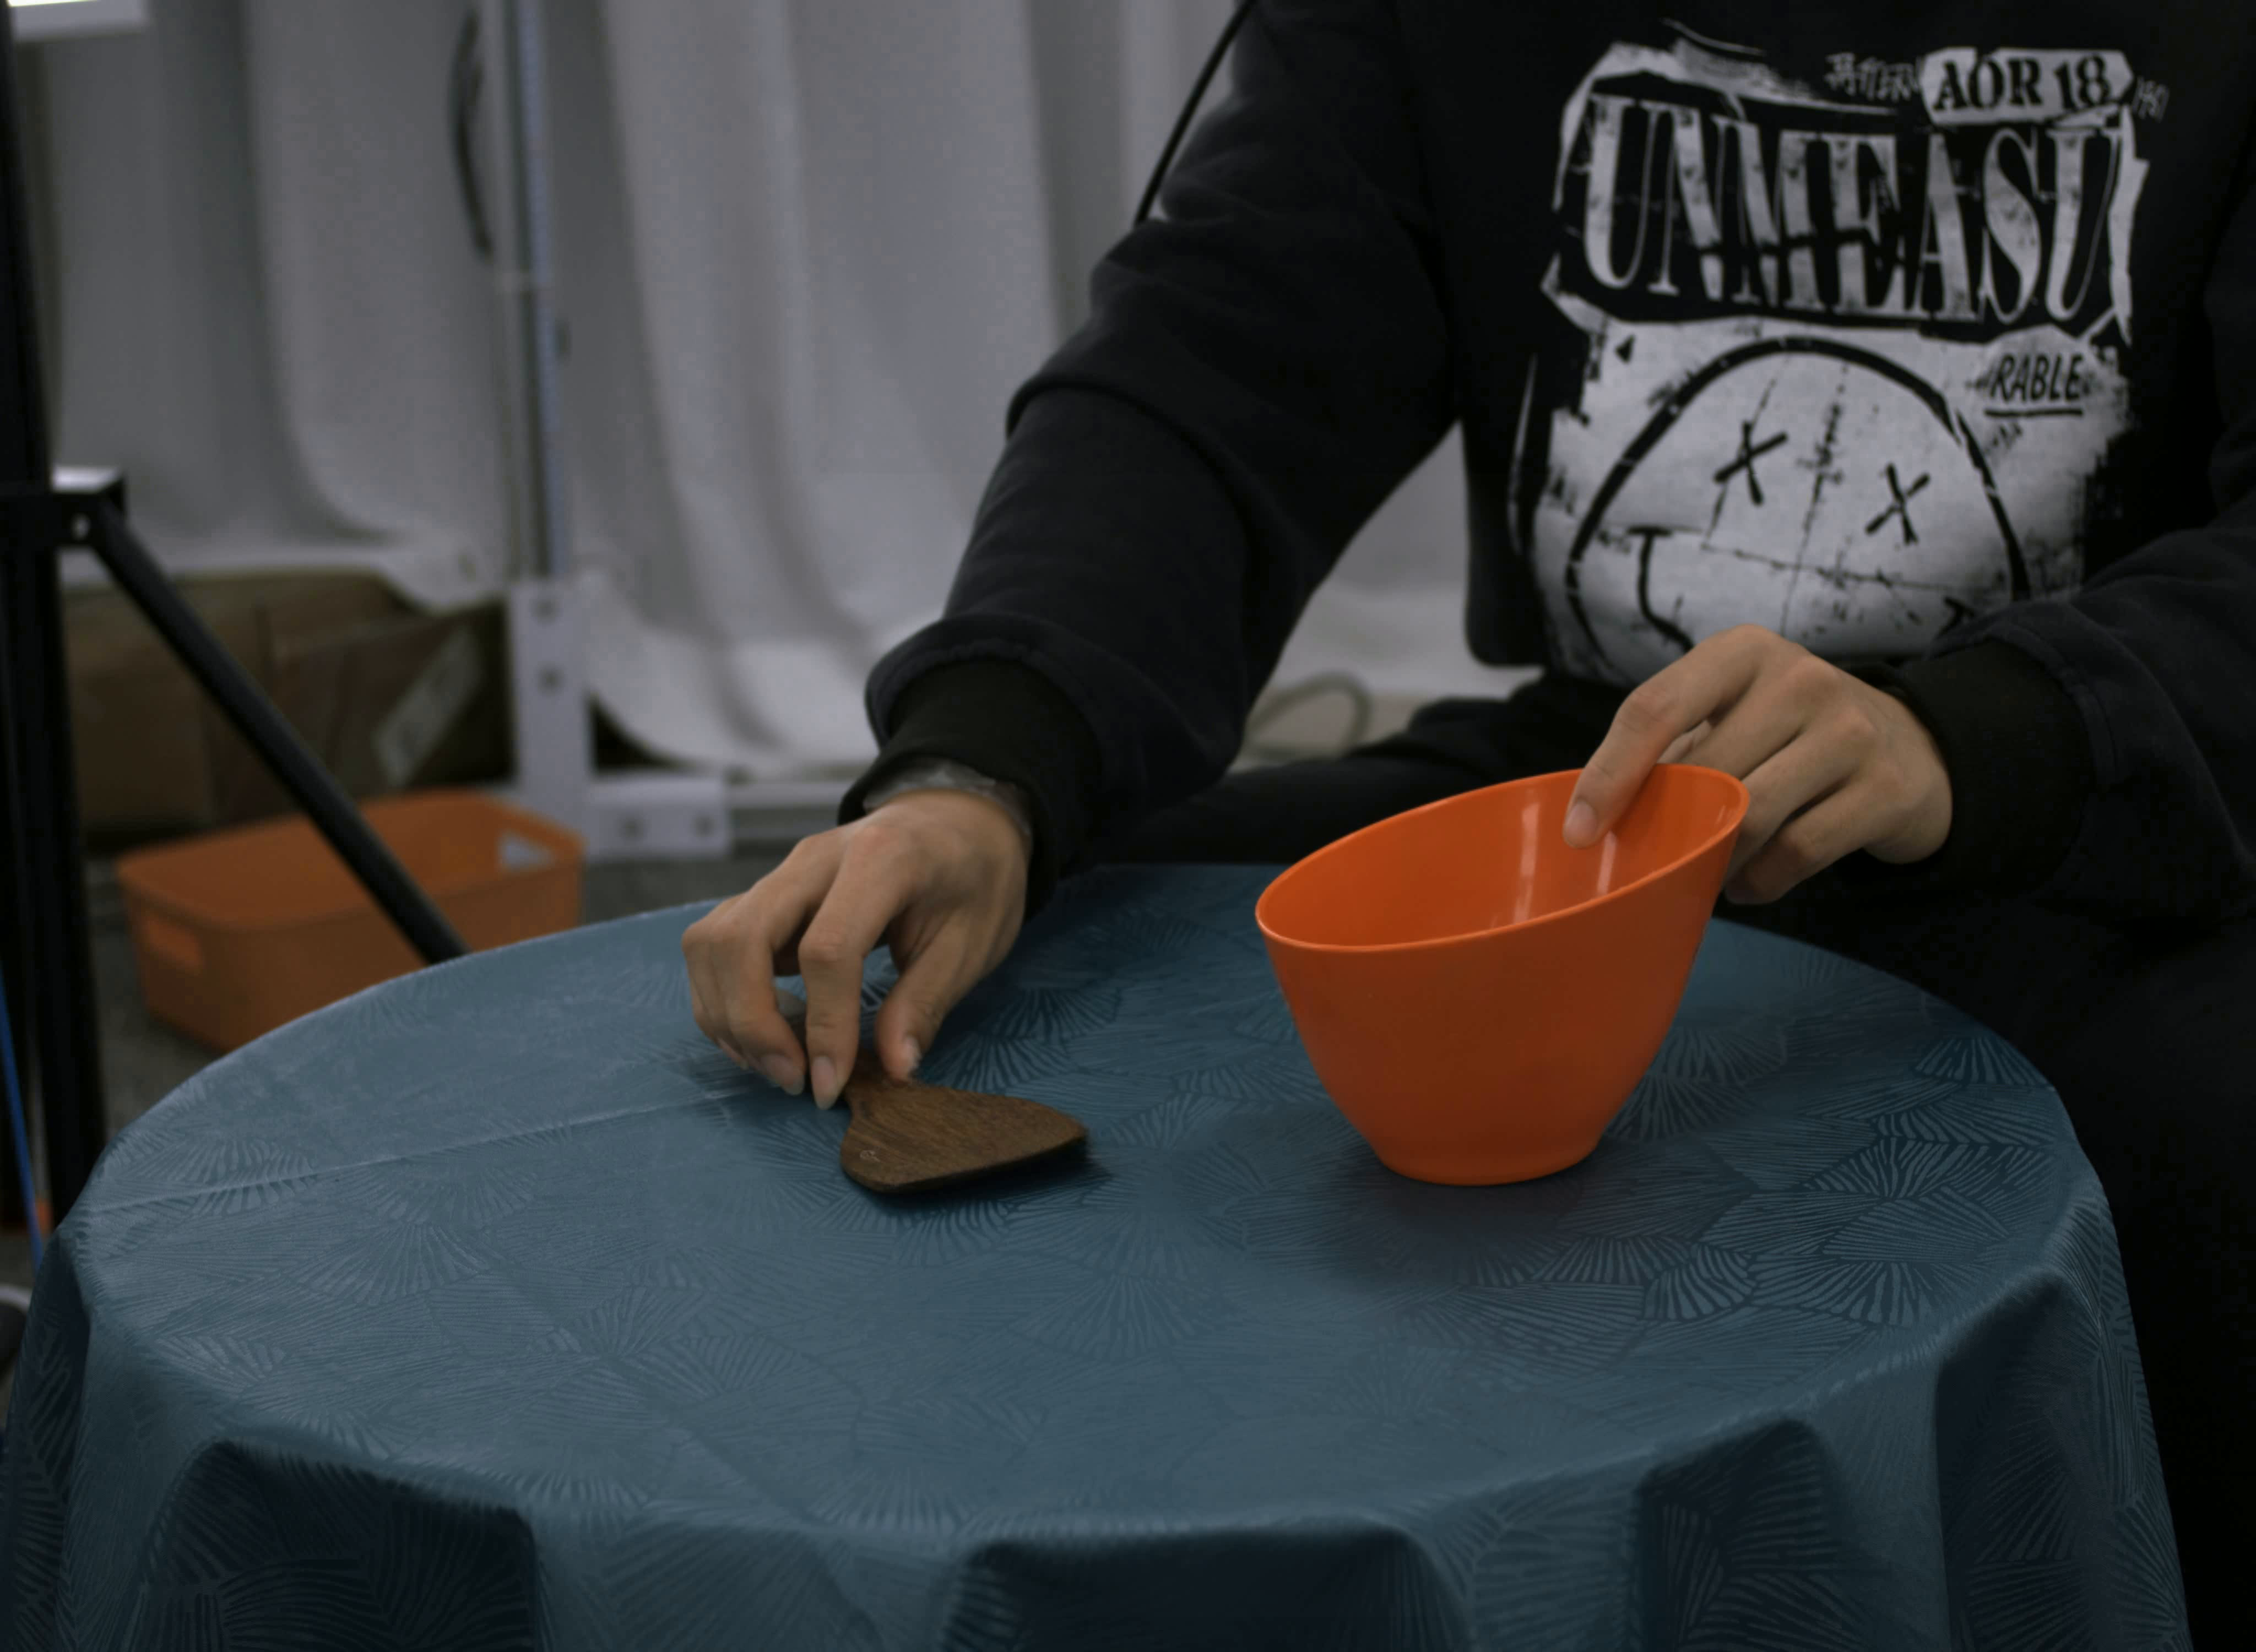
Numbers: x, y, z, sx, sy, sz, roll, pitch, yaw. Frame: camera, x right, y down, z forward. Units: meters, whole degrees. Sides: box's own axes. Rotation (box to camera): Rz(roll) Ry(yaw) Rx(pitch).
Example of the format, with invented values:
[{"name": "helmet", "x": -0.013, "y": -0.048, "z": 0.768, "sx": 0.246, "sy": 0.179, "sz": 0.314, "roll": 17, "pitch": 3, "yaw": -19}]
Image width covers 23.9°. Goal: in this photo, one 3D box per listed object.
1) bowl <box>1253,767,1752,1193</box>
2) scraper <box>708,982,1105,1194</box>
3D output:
[{"name": "bowl", "x": 0.112, "y": 0.048, "z": 1.557, "sx": 0.147, "sy": 0.104, "sz": 0.149, "roll": -6, "pitch": 18, "yaw": 1}, {"name": "scraper", "x": -0.081, "y": 0.079, "z": 1.652, "sx": 0.074, "sy": 0.011, "sz": 0.215, "roll": -13, "pitch": 18, "yaw": -23}]
